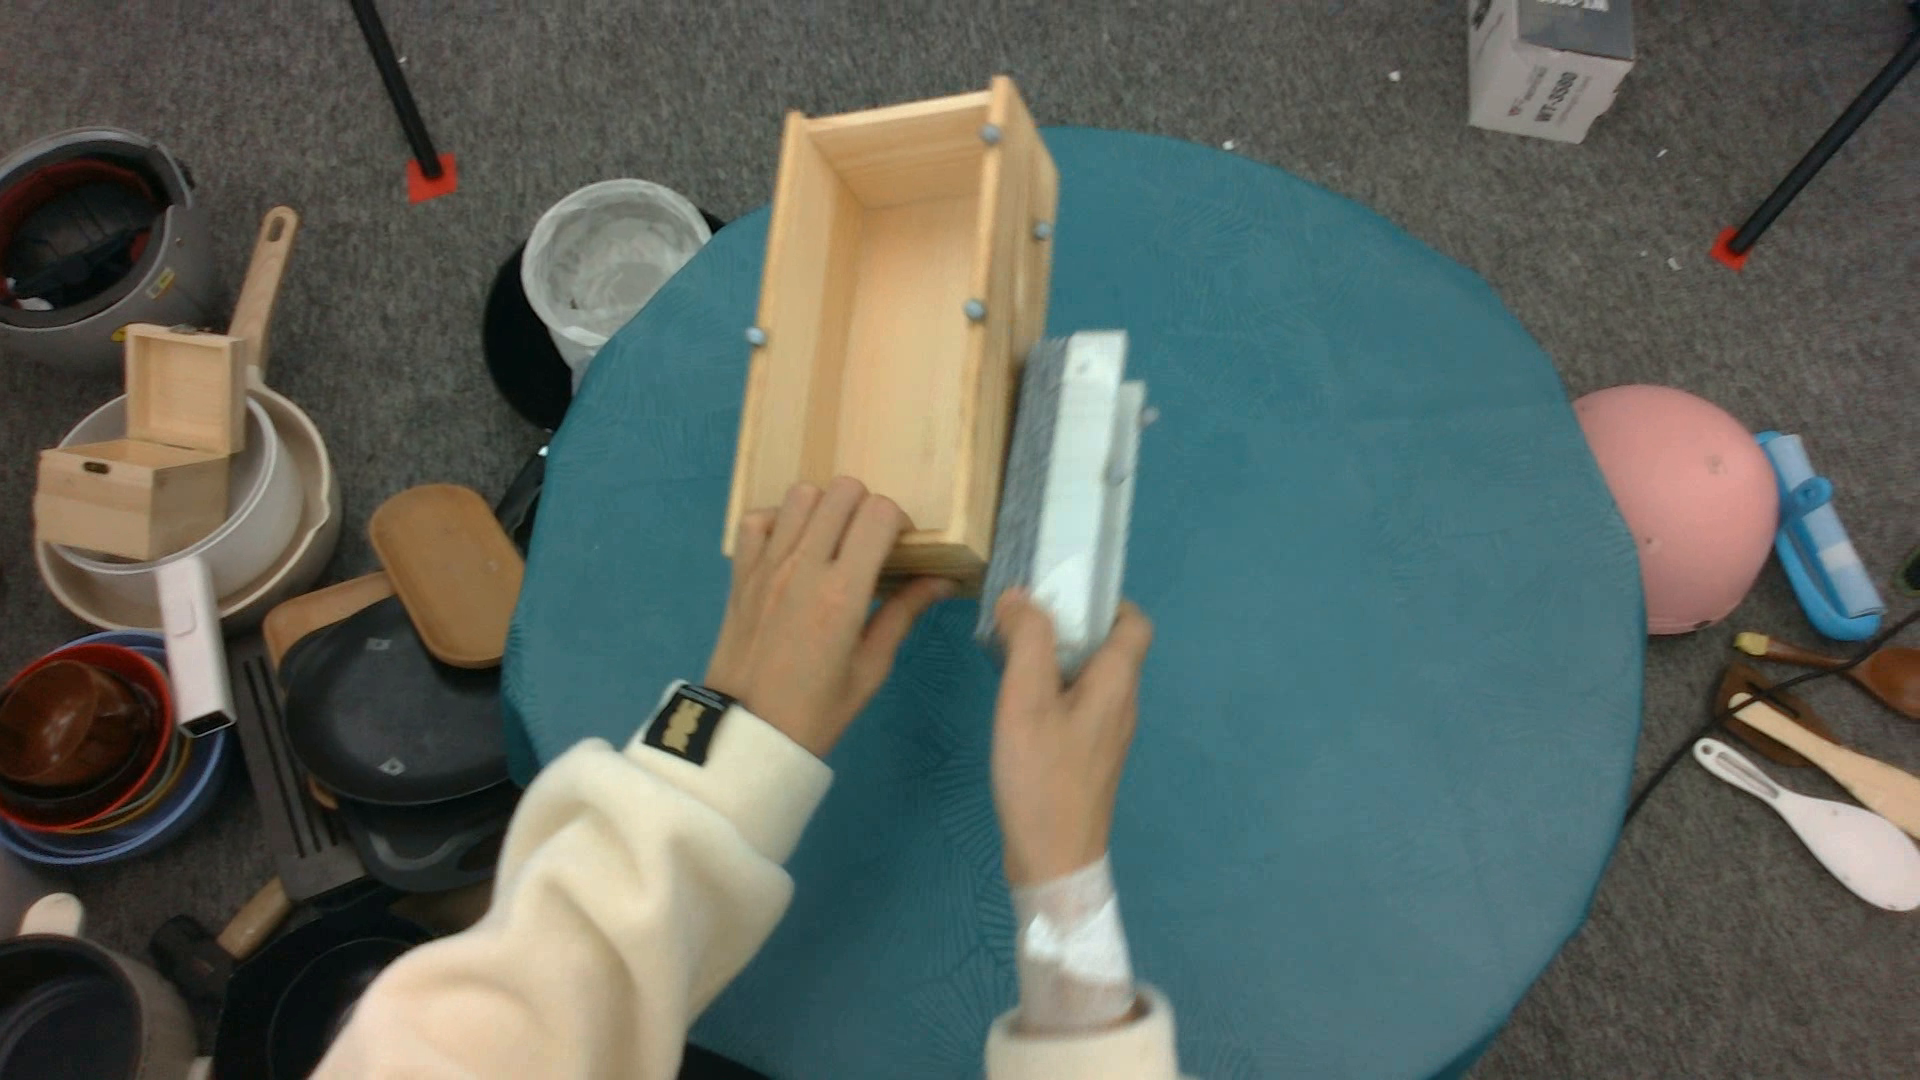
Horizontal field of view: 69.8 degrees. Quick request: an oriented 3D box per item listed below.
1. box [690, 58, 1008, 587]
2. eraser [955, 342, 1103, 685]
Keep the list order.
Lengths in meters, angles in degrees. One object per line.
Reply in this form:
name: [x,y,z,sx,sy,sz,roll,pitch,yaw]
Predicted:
box: [-0.044,-0.092,0.609,0.107,0.080,0.212,-4,71,19]
eraser: [0.029,-0.011,0.570,0.046,0.049,0.134,-1,68,17]
